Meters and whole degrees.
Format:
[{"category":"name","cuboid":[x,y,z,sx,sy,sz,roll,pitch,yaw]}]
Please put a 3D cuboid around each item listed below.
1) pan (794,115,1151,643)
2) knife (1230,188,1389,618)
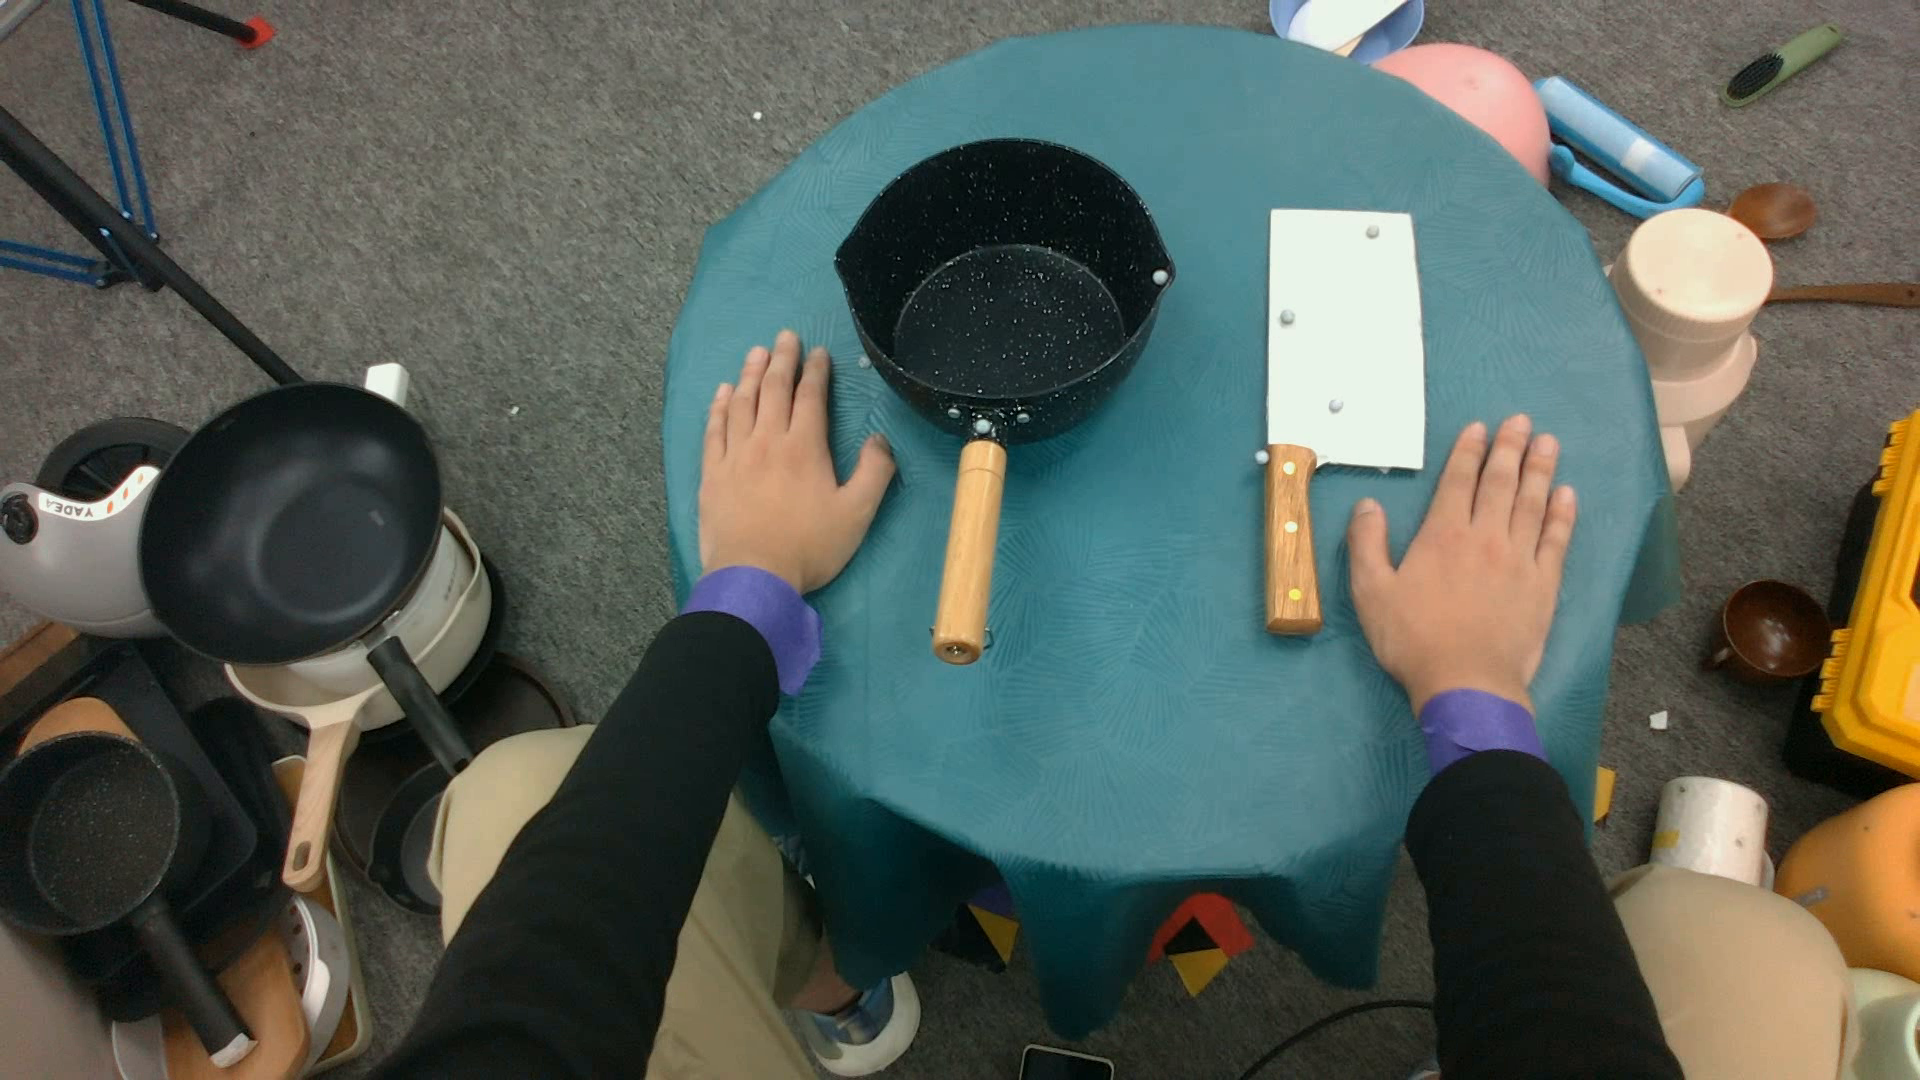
[{"category":"pan","cuboid":[0.003,-0.088,0.788,0.207,0.108,0.344,2,64,4]},{"category":"knife","cuboid":[0.209,-0.093,0.827,0.093,0.021,0.307,4,63,4]}]
